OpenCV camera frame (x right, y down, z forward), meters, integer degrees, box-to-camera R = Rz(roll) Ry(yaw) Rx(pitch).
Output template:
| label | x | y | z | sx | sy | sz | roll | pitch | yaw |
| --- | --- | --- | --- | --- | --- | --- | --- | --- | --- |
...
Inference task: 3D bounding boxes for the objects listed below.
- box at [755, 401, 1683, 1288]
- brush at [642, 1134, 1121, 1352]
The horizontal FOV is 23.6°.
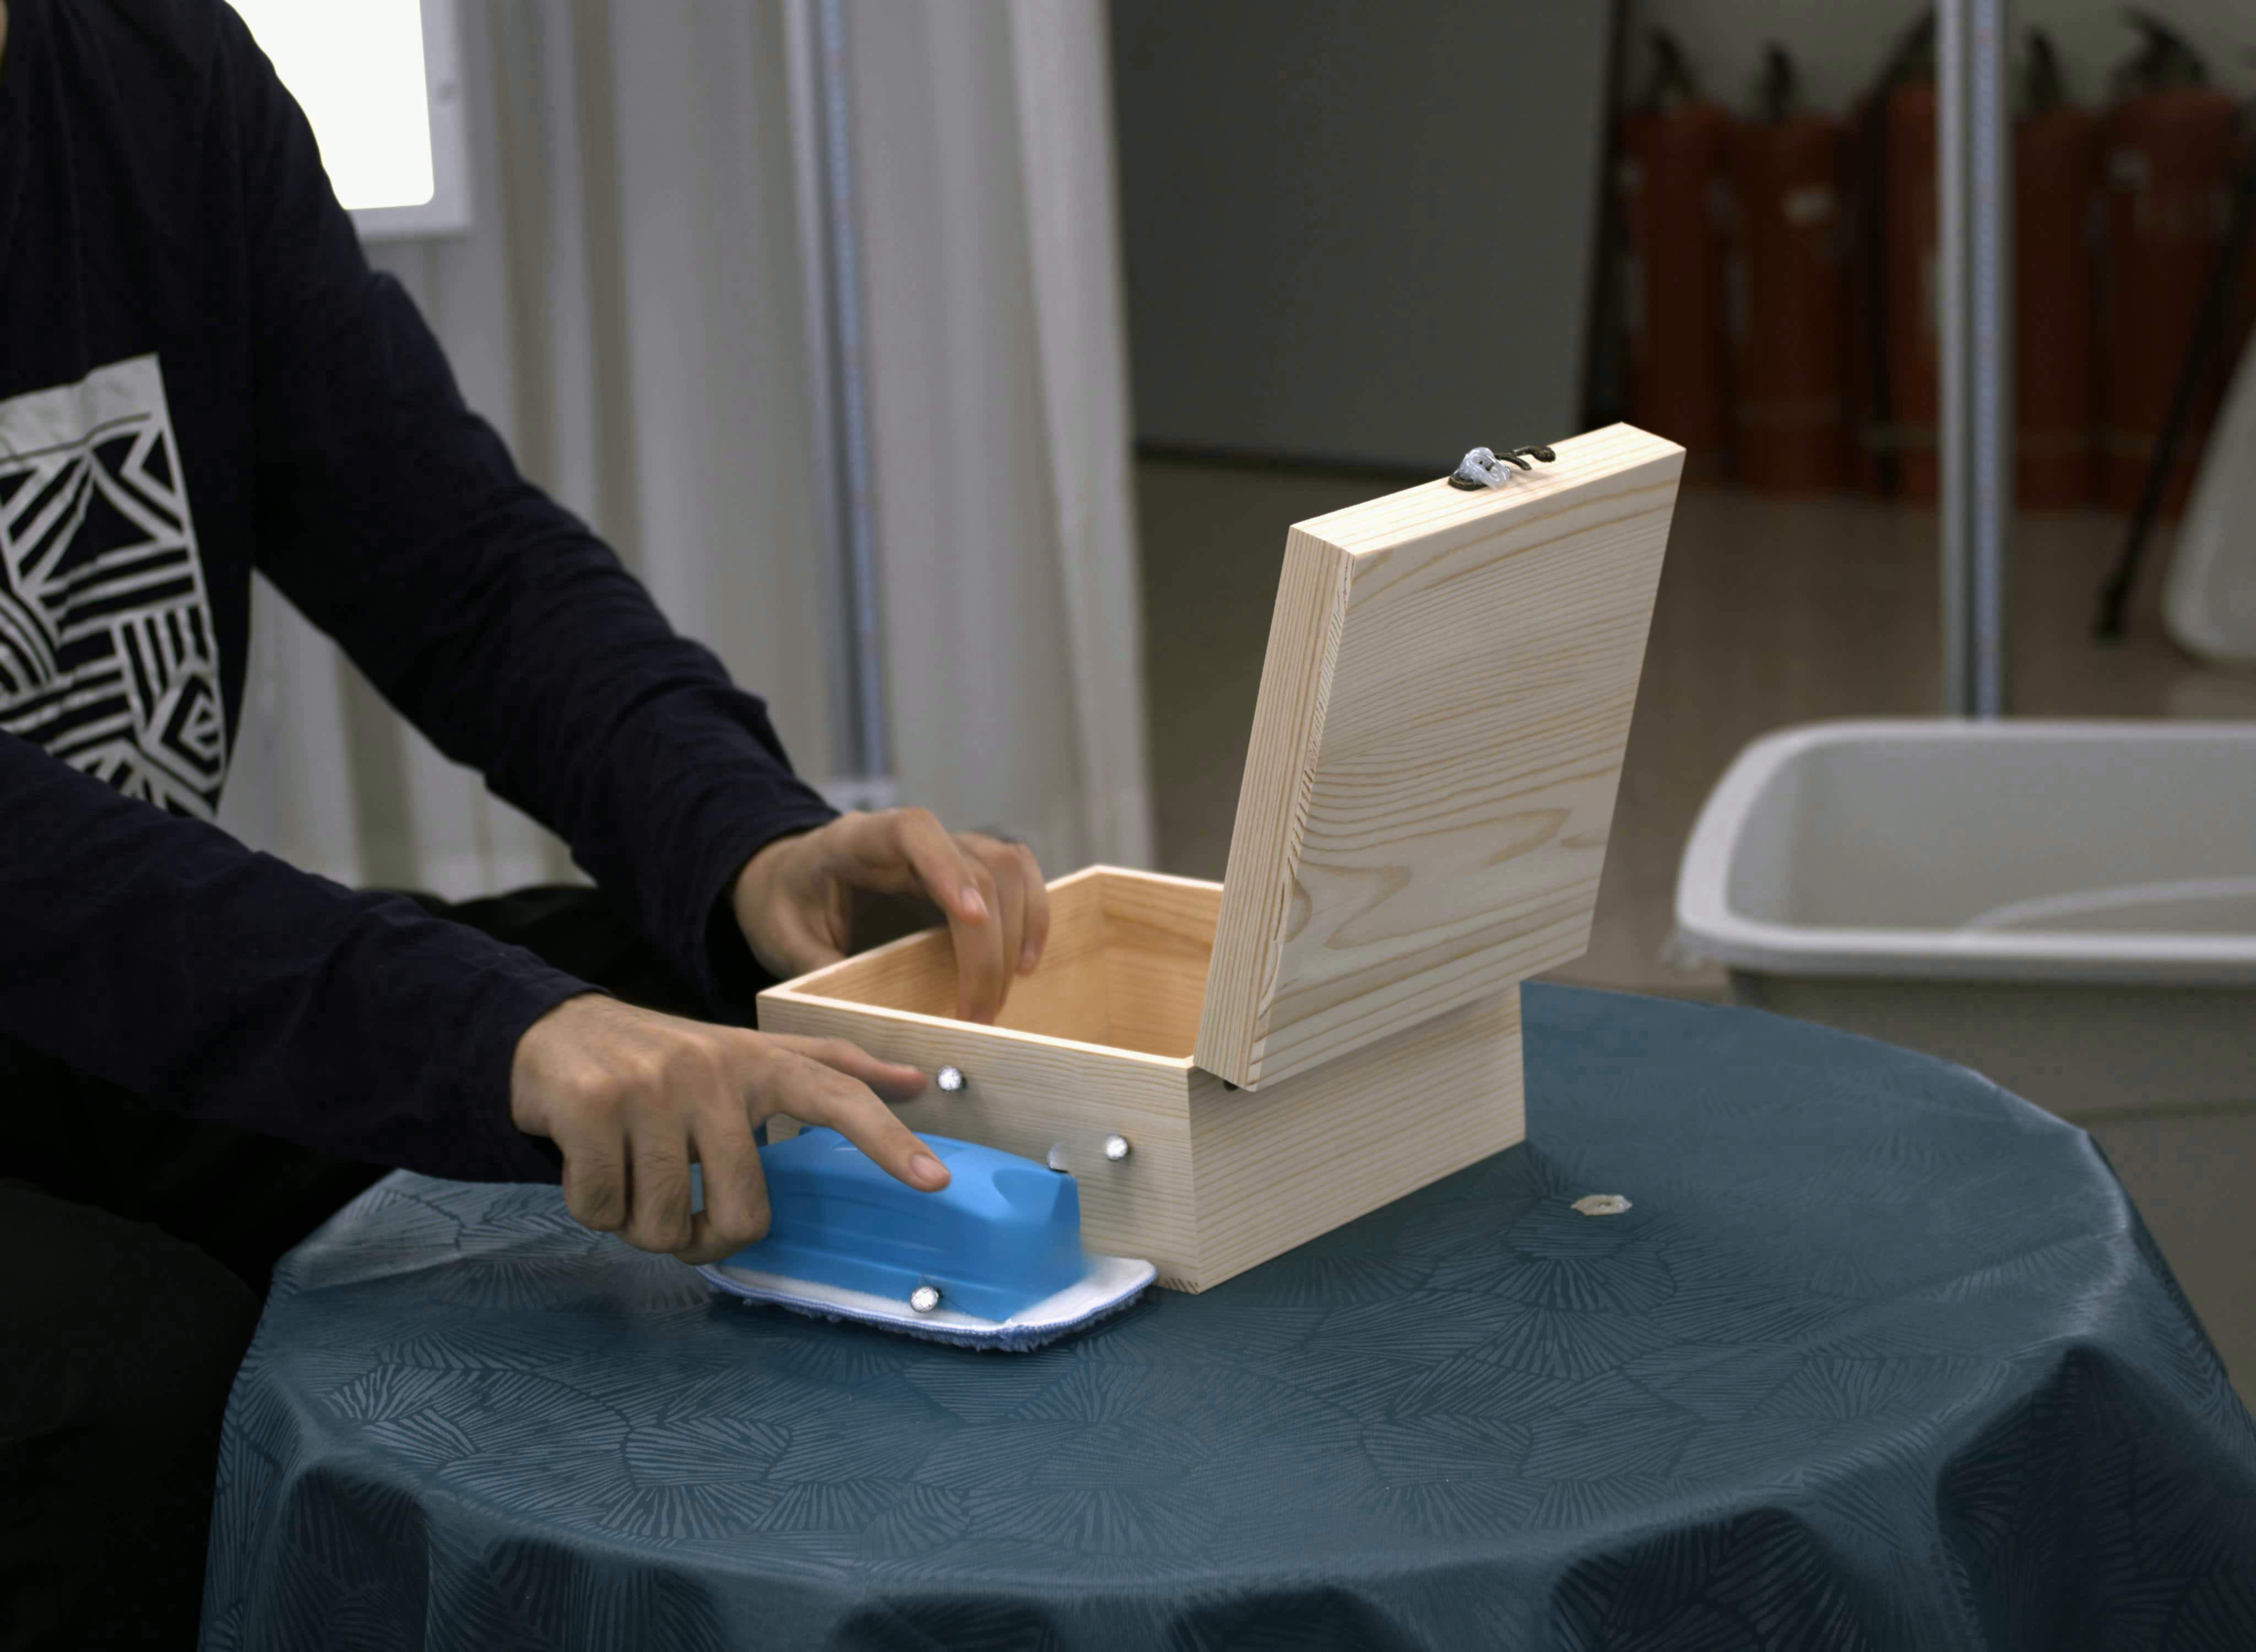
| label | x | y | z | sx | sy | sz | roll | pitch | yaw |
| --- | --- | --- | --- | --- | --- | --- | --- | --- | --- |
| box | 0.026 | -0.003 | 1.739 | 0.267 | 0.256 | 0.178 | 7 | 16 | 38 |
| brush | -0.075 | 0.128 | 1.664 | 0.144 | 0.056 | 0.082 | 9 | 9 | 31 |
